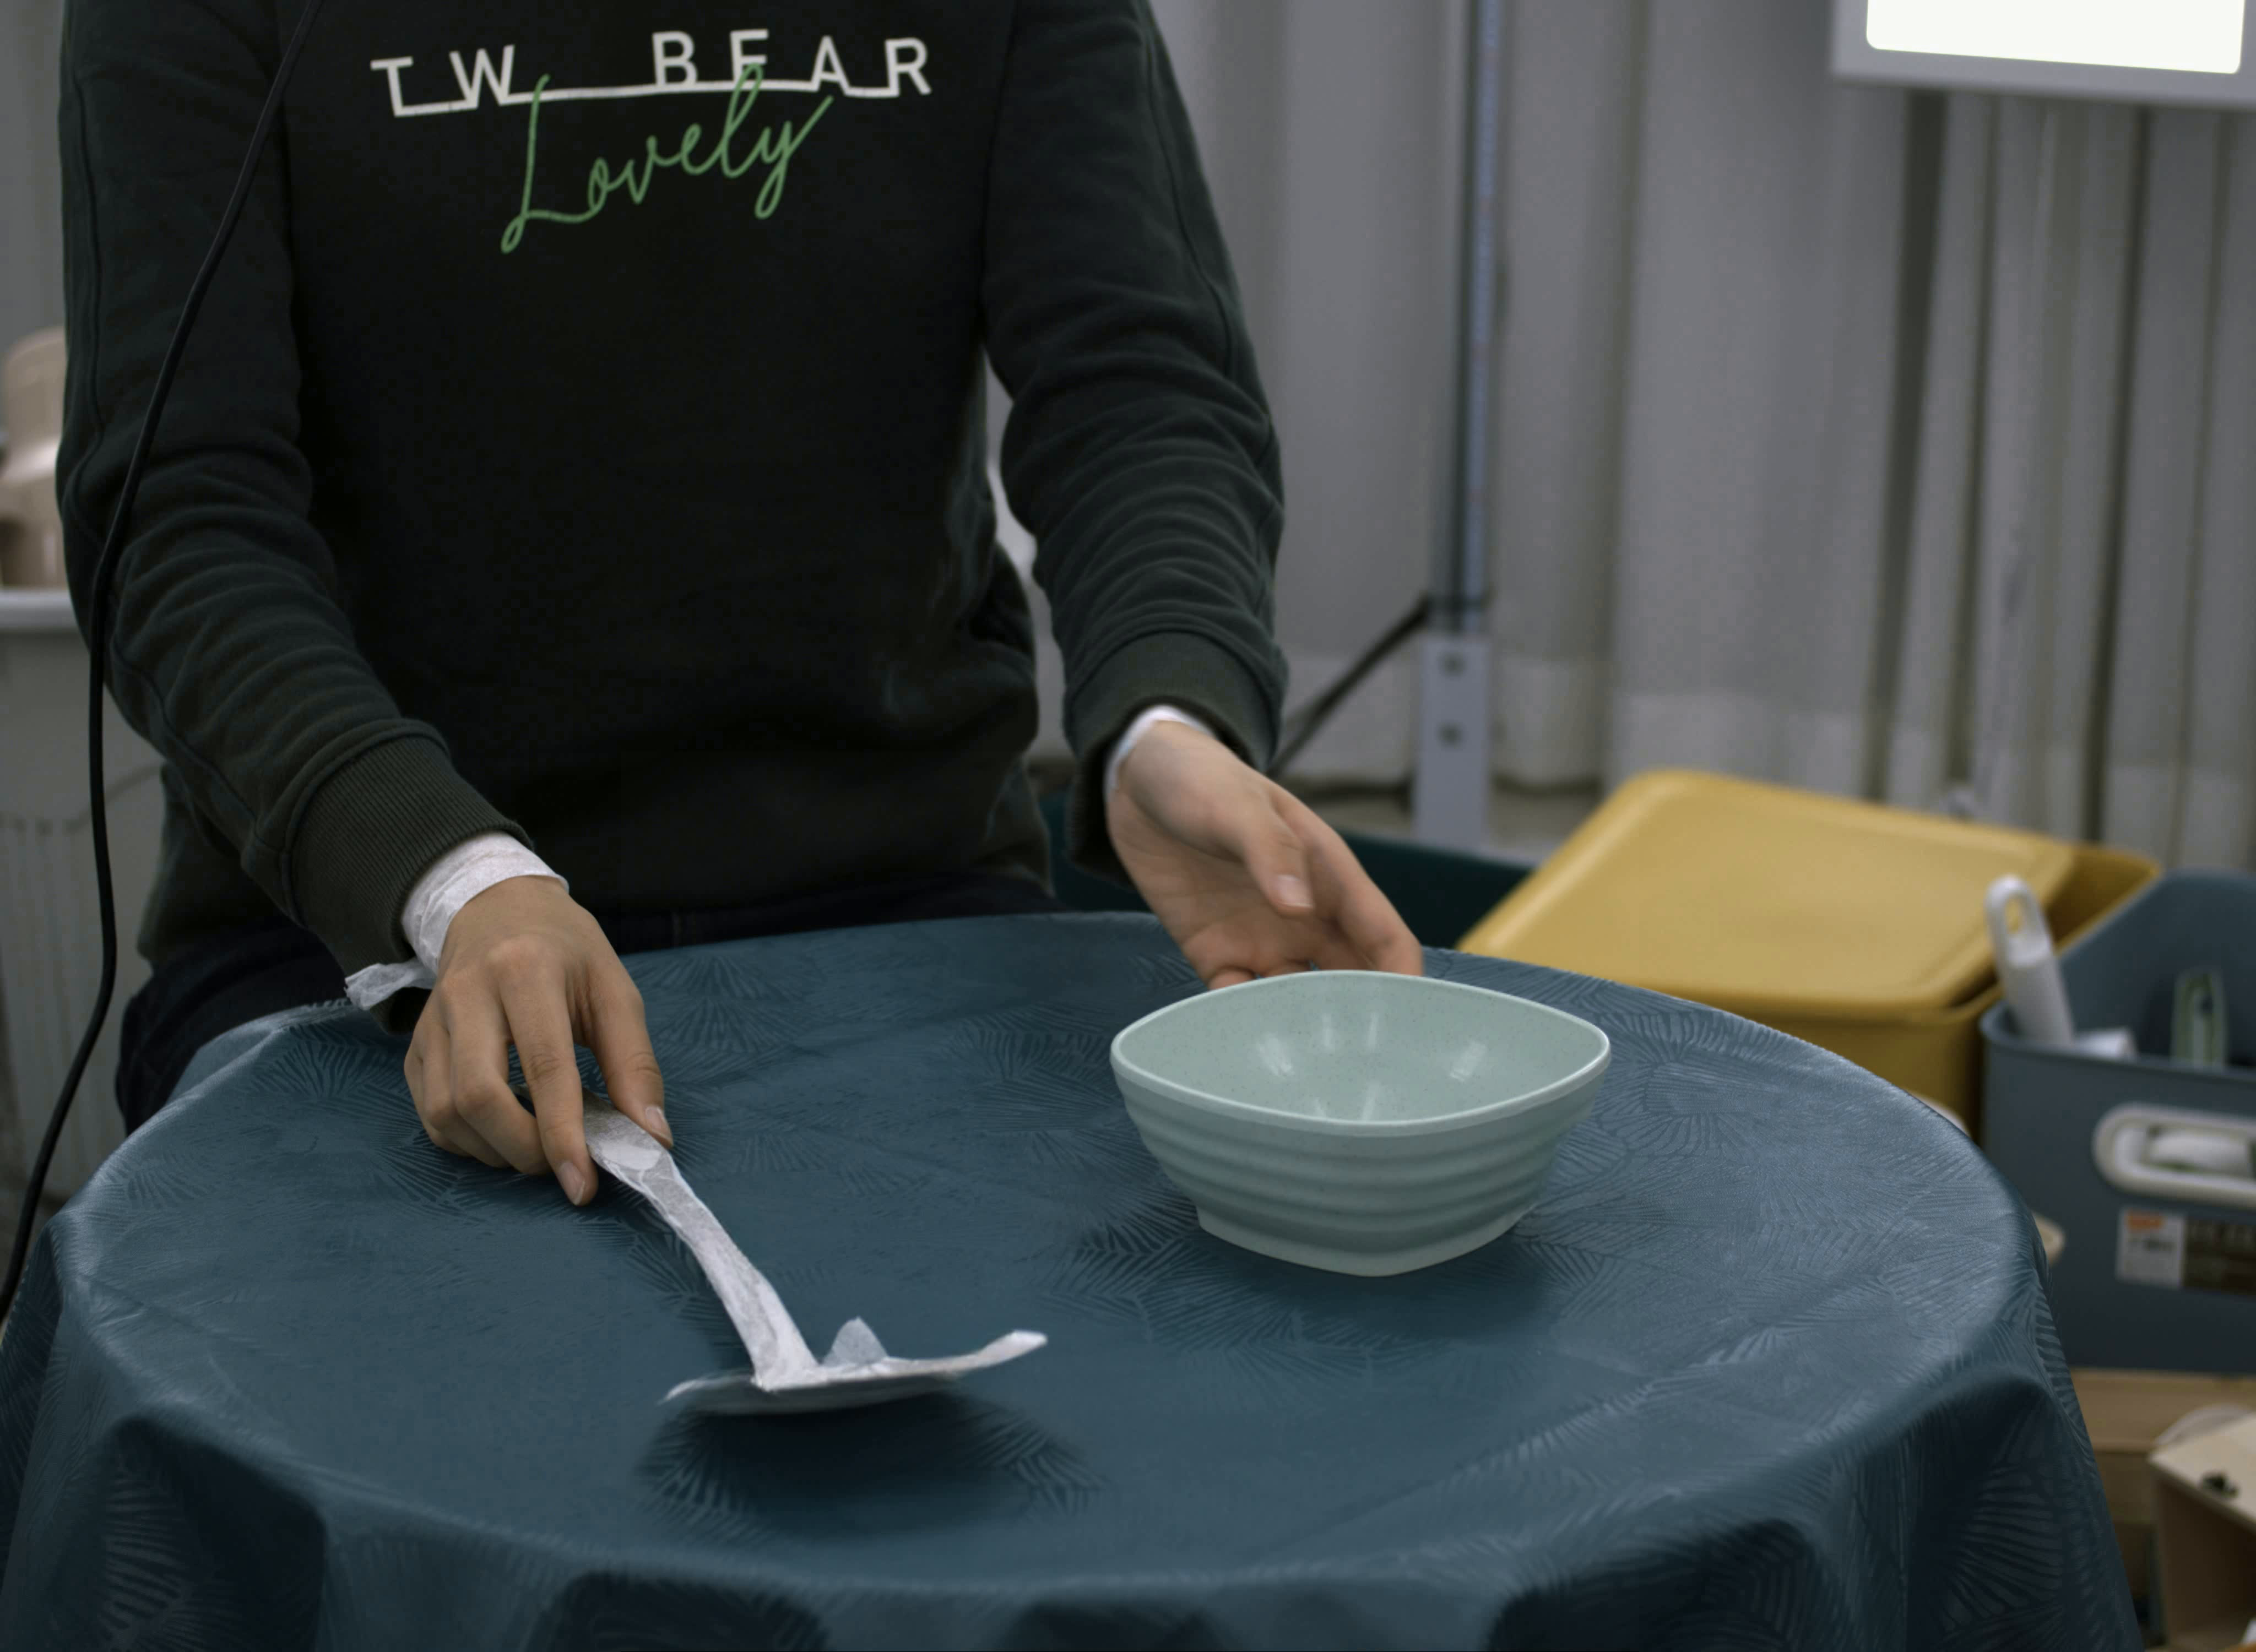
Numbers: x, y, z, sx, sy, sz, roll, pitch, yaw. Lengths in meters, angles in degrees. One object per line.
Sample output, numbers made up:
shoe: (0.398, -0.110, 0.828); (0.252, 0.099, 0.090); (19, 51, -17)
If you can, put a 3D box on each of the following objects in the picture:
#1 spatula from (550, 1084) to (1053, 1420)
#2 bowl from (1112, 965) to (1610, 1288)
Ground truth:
spatula: (-0.121, 0.115, 1.541); (0.099, 0.045, 0.361); (-6, 17, -20)
bowl: (0.070, 0.094, 1.595); (0.151, 0.059, 0.150); (2, 18, 0)
